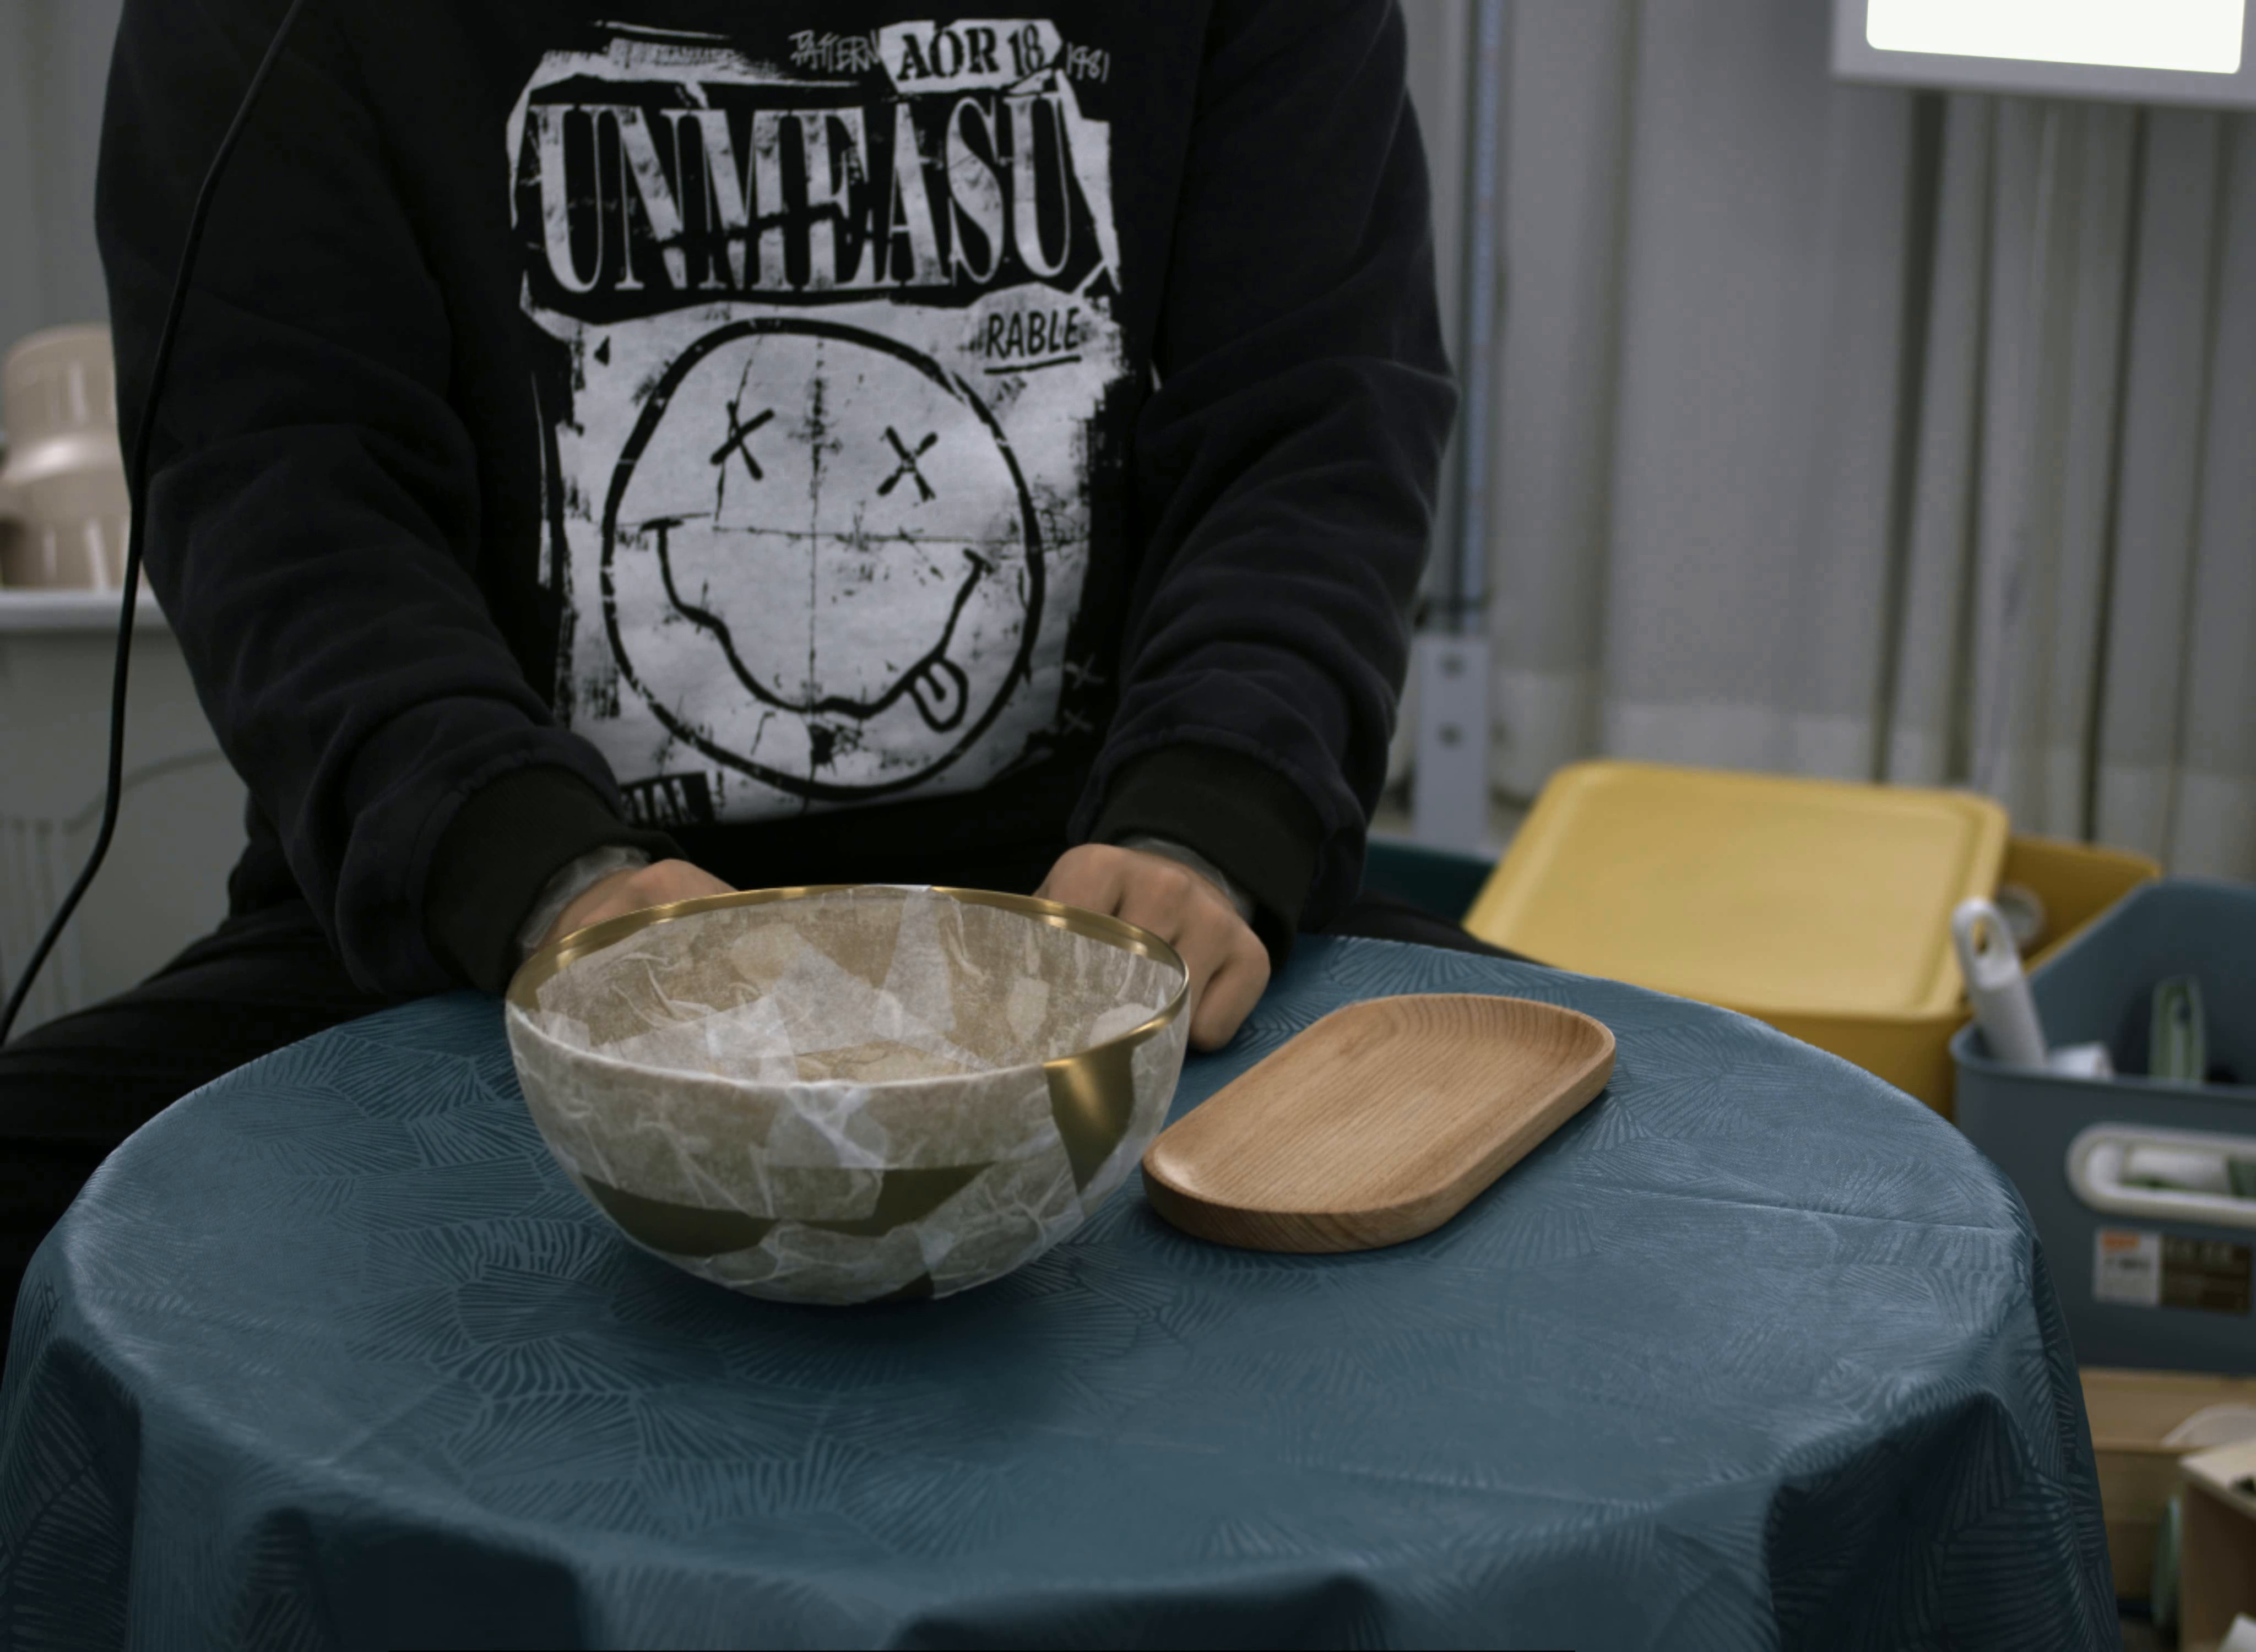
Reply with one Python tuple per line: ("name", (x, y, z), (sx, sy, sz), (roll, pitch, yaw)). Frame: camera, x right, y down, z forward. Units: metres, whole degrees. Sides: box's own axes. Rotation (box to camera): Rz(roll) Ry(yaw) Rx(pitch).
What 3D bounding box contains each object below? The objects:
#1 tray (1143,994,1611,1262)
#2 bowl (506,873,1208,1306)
("tray", (0.081, 0.094, 1.669), (0.100, 0.020, 0.231), (5, 18, 23))
("bowl", (-0.077, 0.085, 1.548), (0.214, 0.095, 0.213), (-1, 16, 1))
